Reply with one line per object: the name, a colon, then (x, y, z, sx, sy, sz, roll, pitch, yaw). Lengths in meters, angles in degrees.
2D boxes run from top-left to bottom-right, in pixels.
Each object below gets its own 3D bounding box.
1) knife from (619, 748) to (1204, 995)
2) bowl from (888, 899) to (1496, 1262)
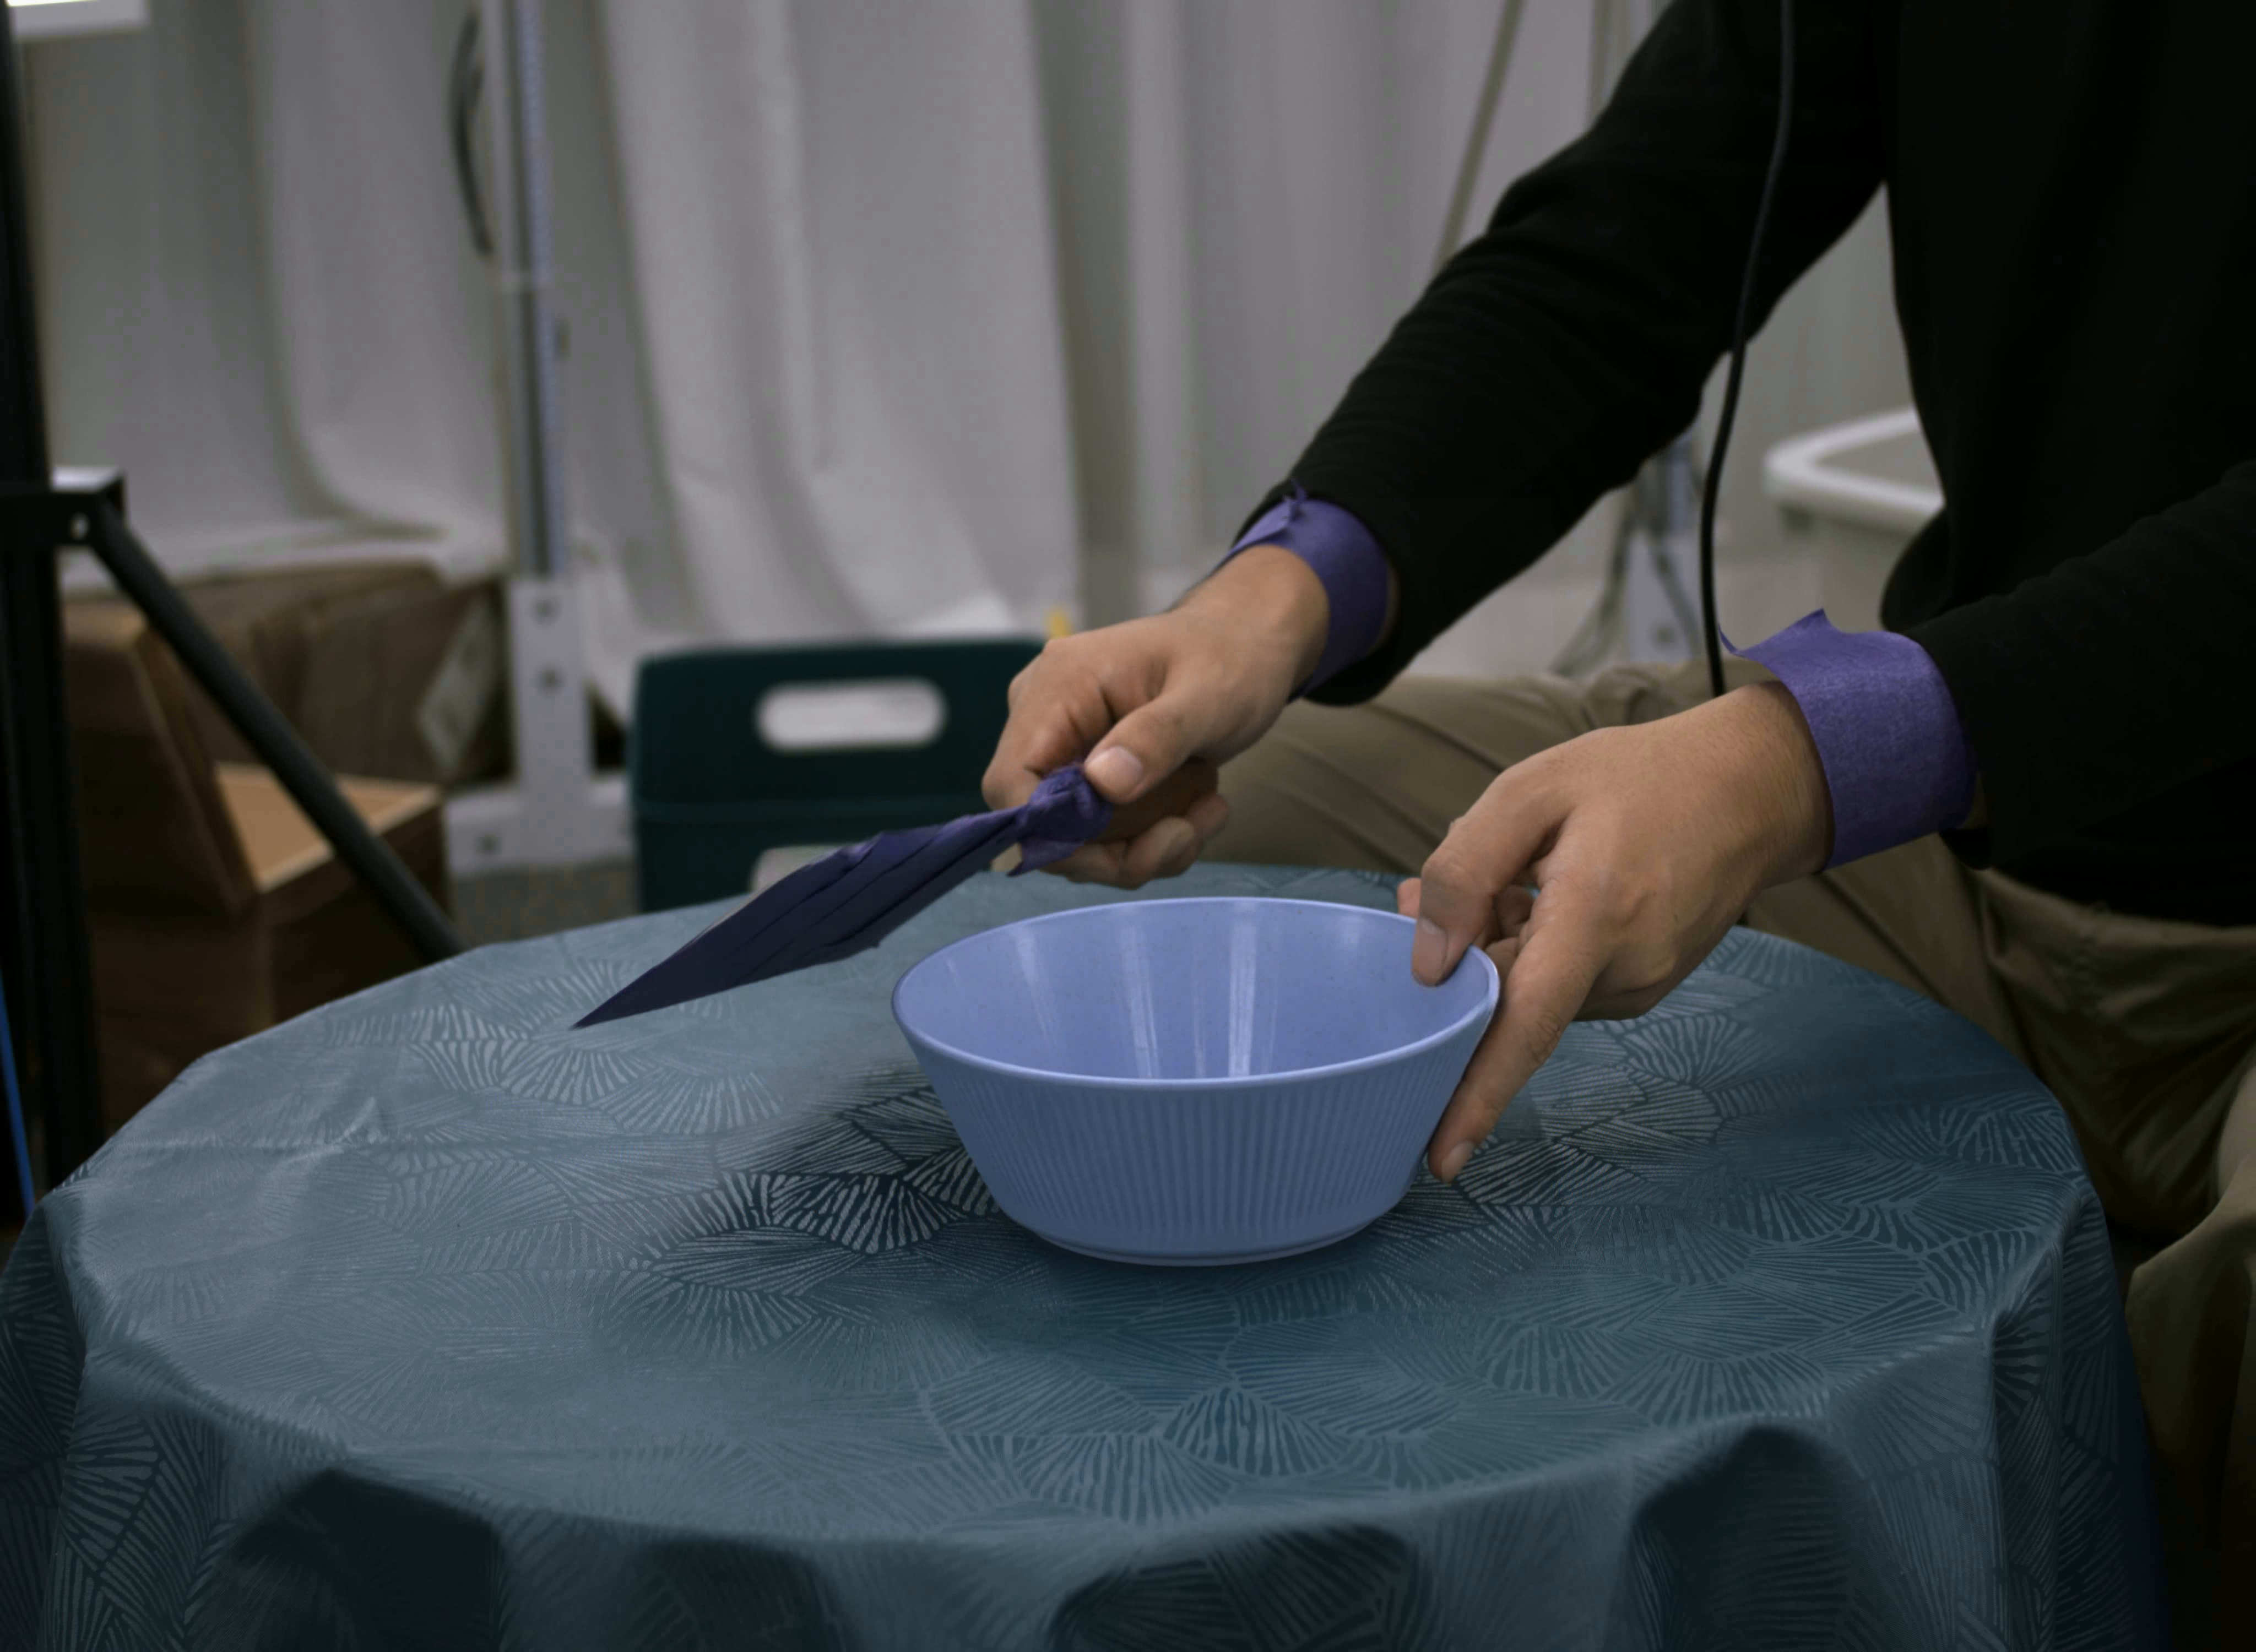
knife: (-0.065, 0.013, 1.630, 0.104, 0.032, 0.310, -36, -10, 19)
bowl: (0.019, 0.076, 1.534, 0.175, 0.070, 0.177, -2, 16, -1)
